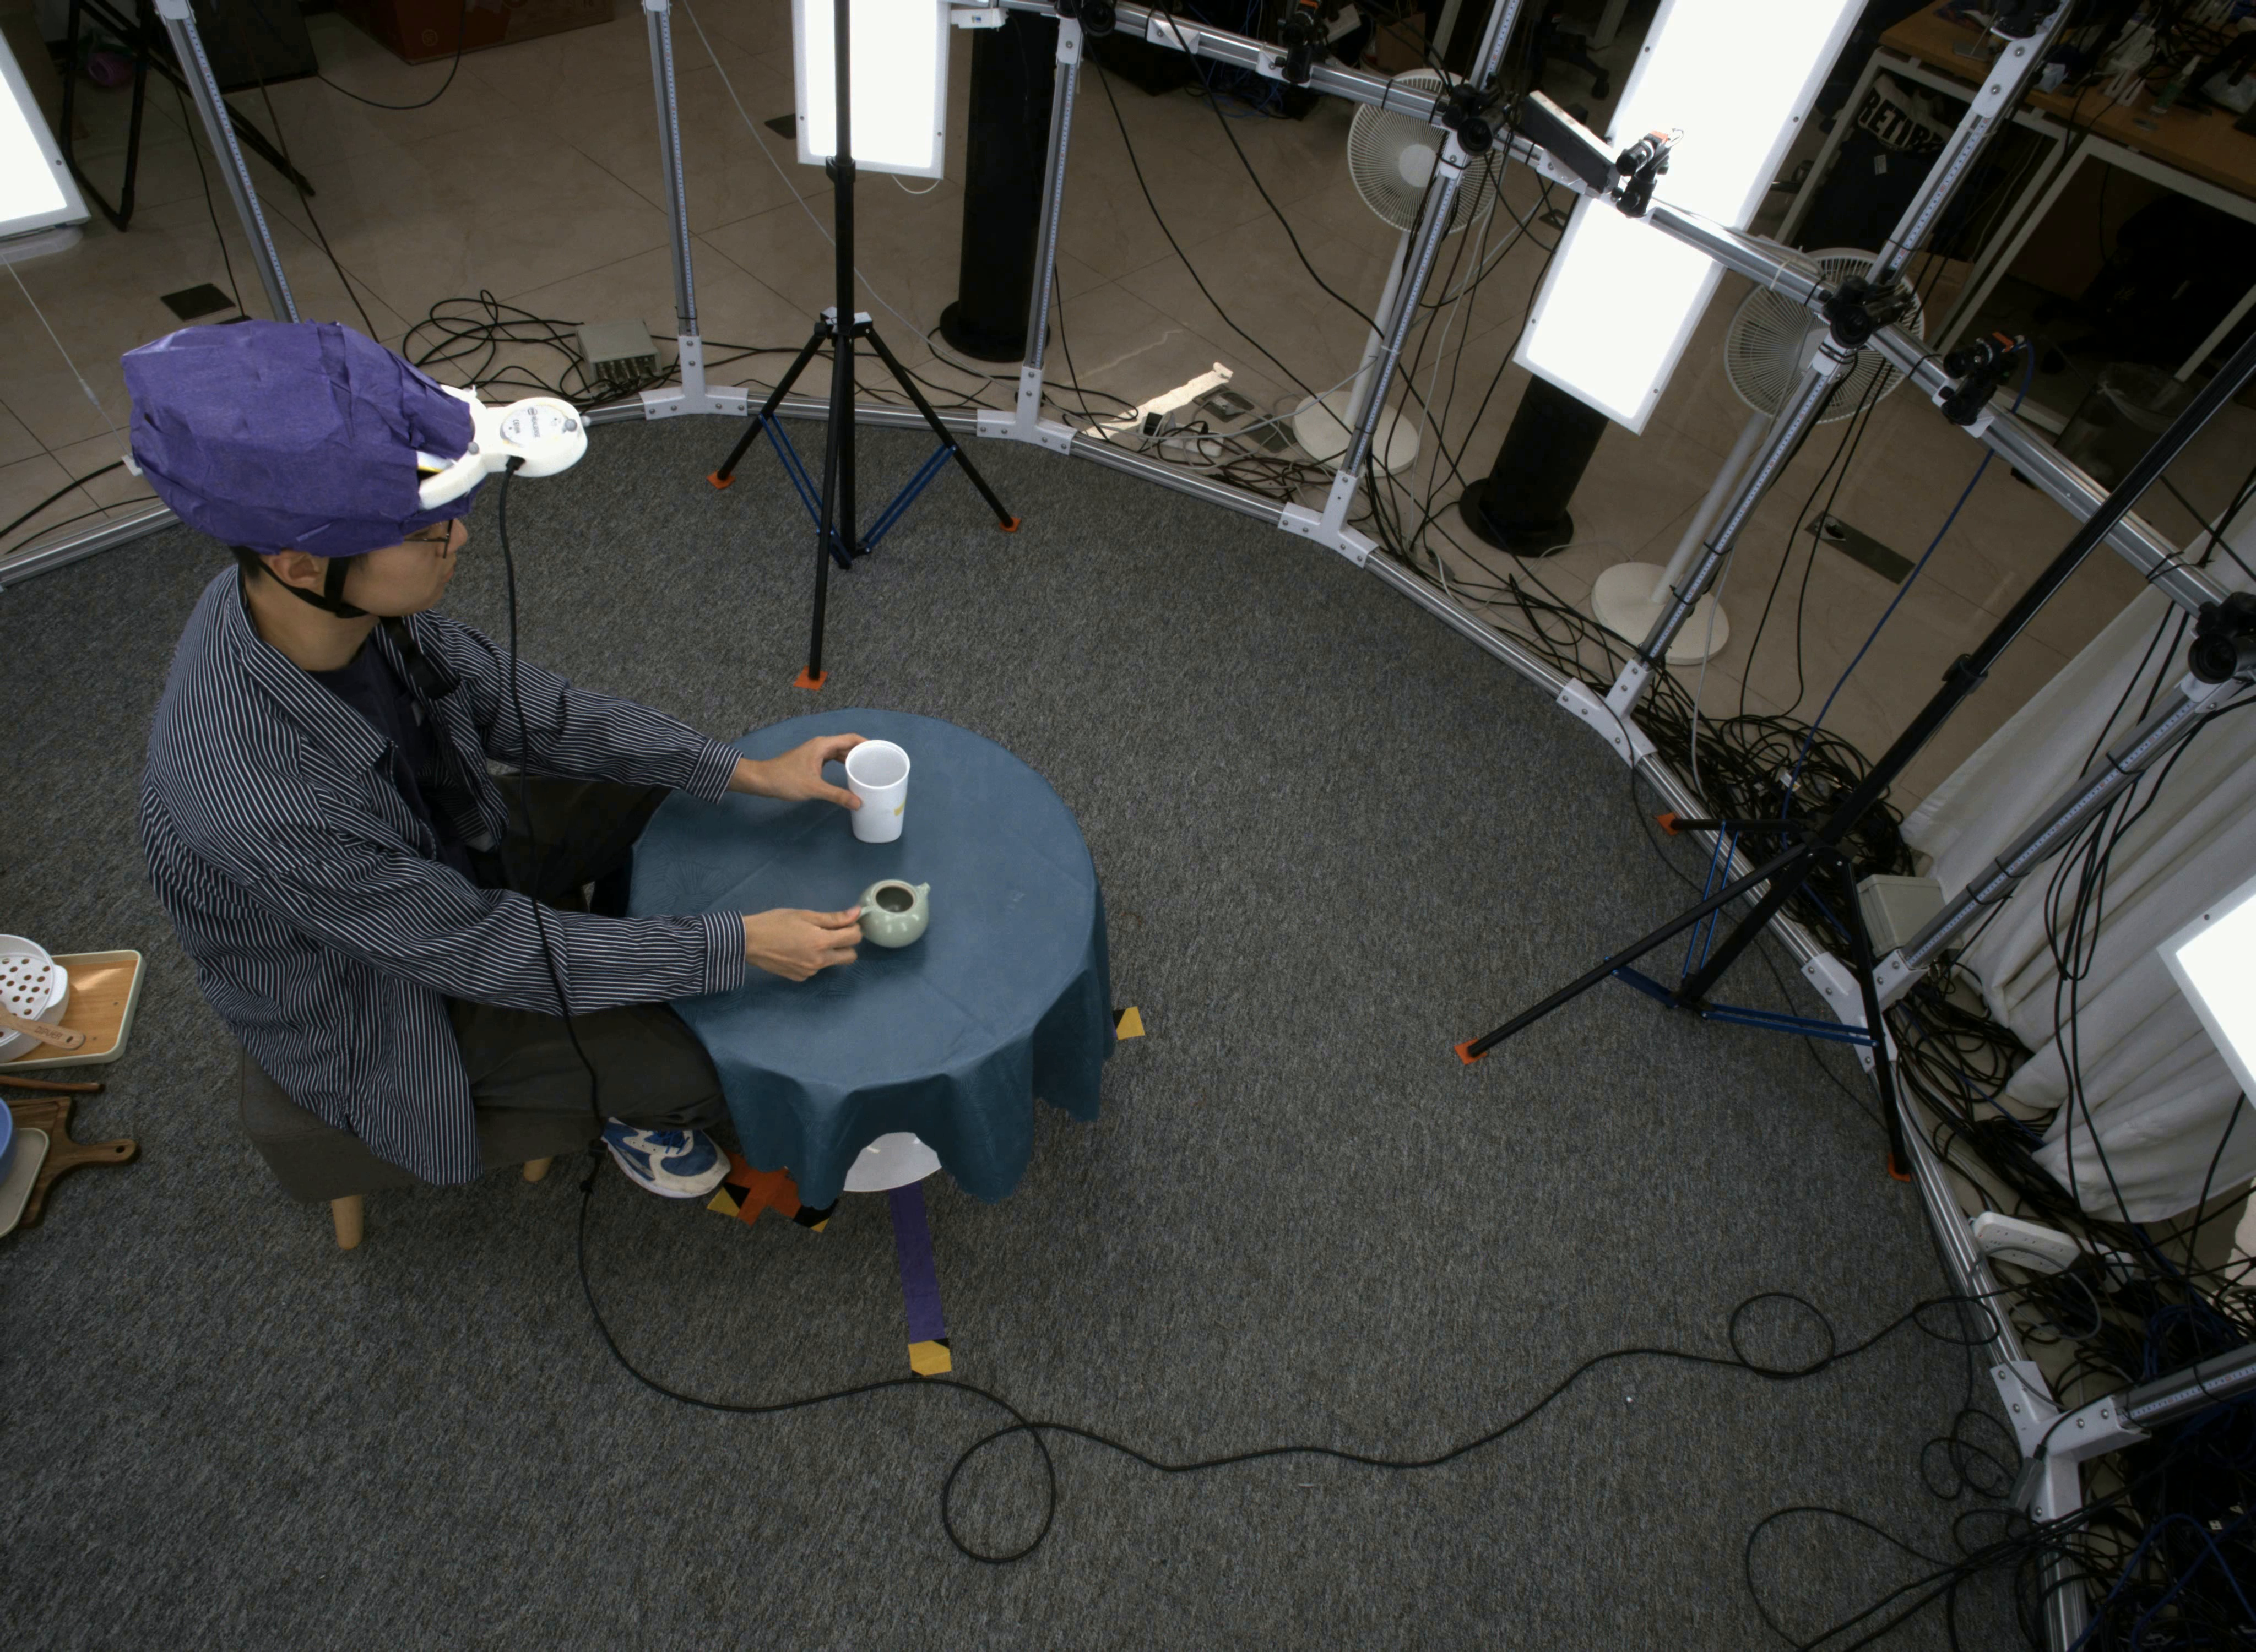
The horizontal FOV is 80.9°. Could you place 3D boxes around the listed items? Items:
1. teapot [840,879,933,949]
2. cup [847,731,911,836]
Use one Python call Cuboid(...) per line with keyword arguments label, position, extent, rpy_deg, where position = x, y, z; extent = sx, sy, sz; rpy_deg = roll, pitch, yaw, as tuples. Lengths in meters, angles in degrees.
Cuboid(label="teapot", position=(-0.303, 0.112, 1.627), extent=(0.130, 0.062, 0.089), rpy_deg=(-18, 54, -38))
Cuboid(label="cup", position=(-0.329, -0.053, 1.719), extent=(0.081, 0.128, 0.080), rpy_deg=(6, 52, -6))
